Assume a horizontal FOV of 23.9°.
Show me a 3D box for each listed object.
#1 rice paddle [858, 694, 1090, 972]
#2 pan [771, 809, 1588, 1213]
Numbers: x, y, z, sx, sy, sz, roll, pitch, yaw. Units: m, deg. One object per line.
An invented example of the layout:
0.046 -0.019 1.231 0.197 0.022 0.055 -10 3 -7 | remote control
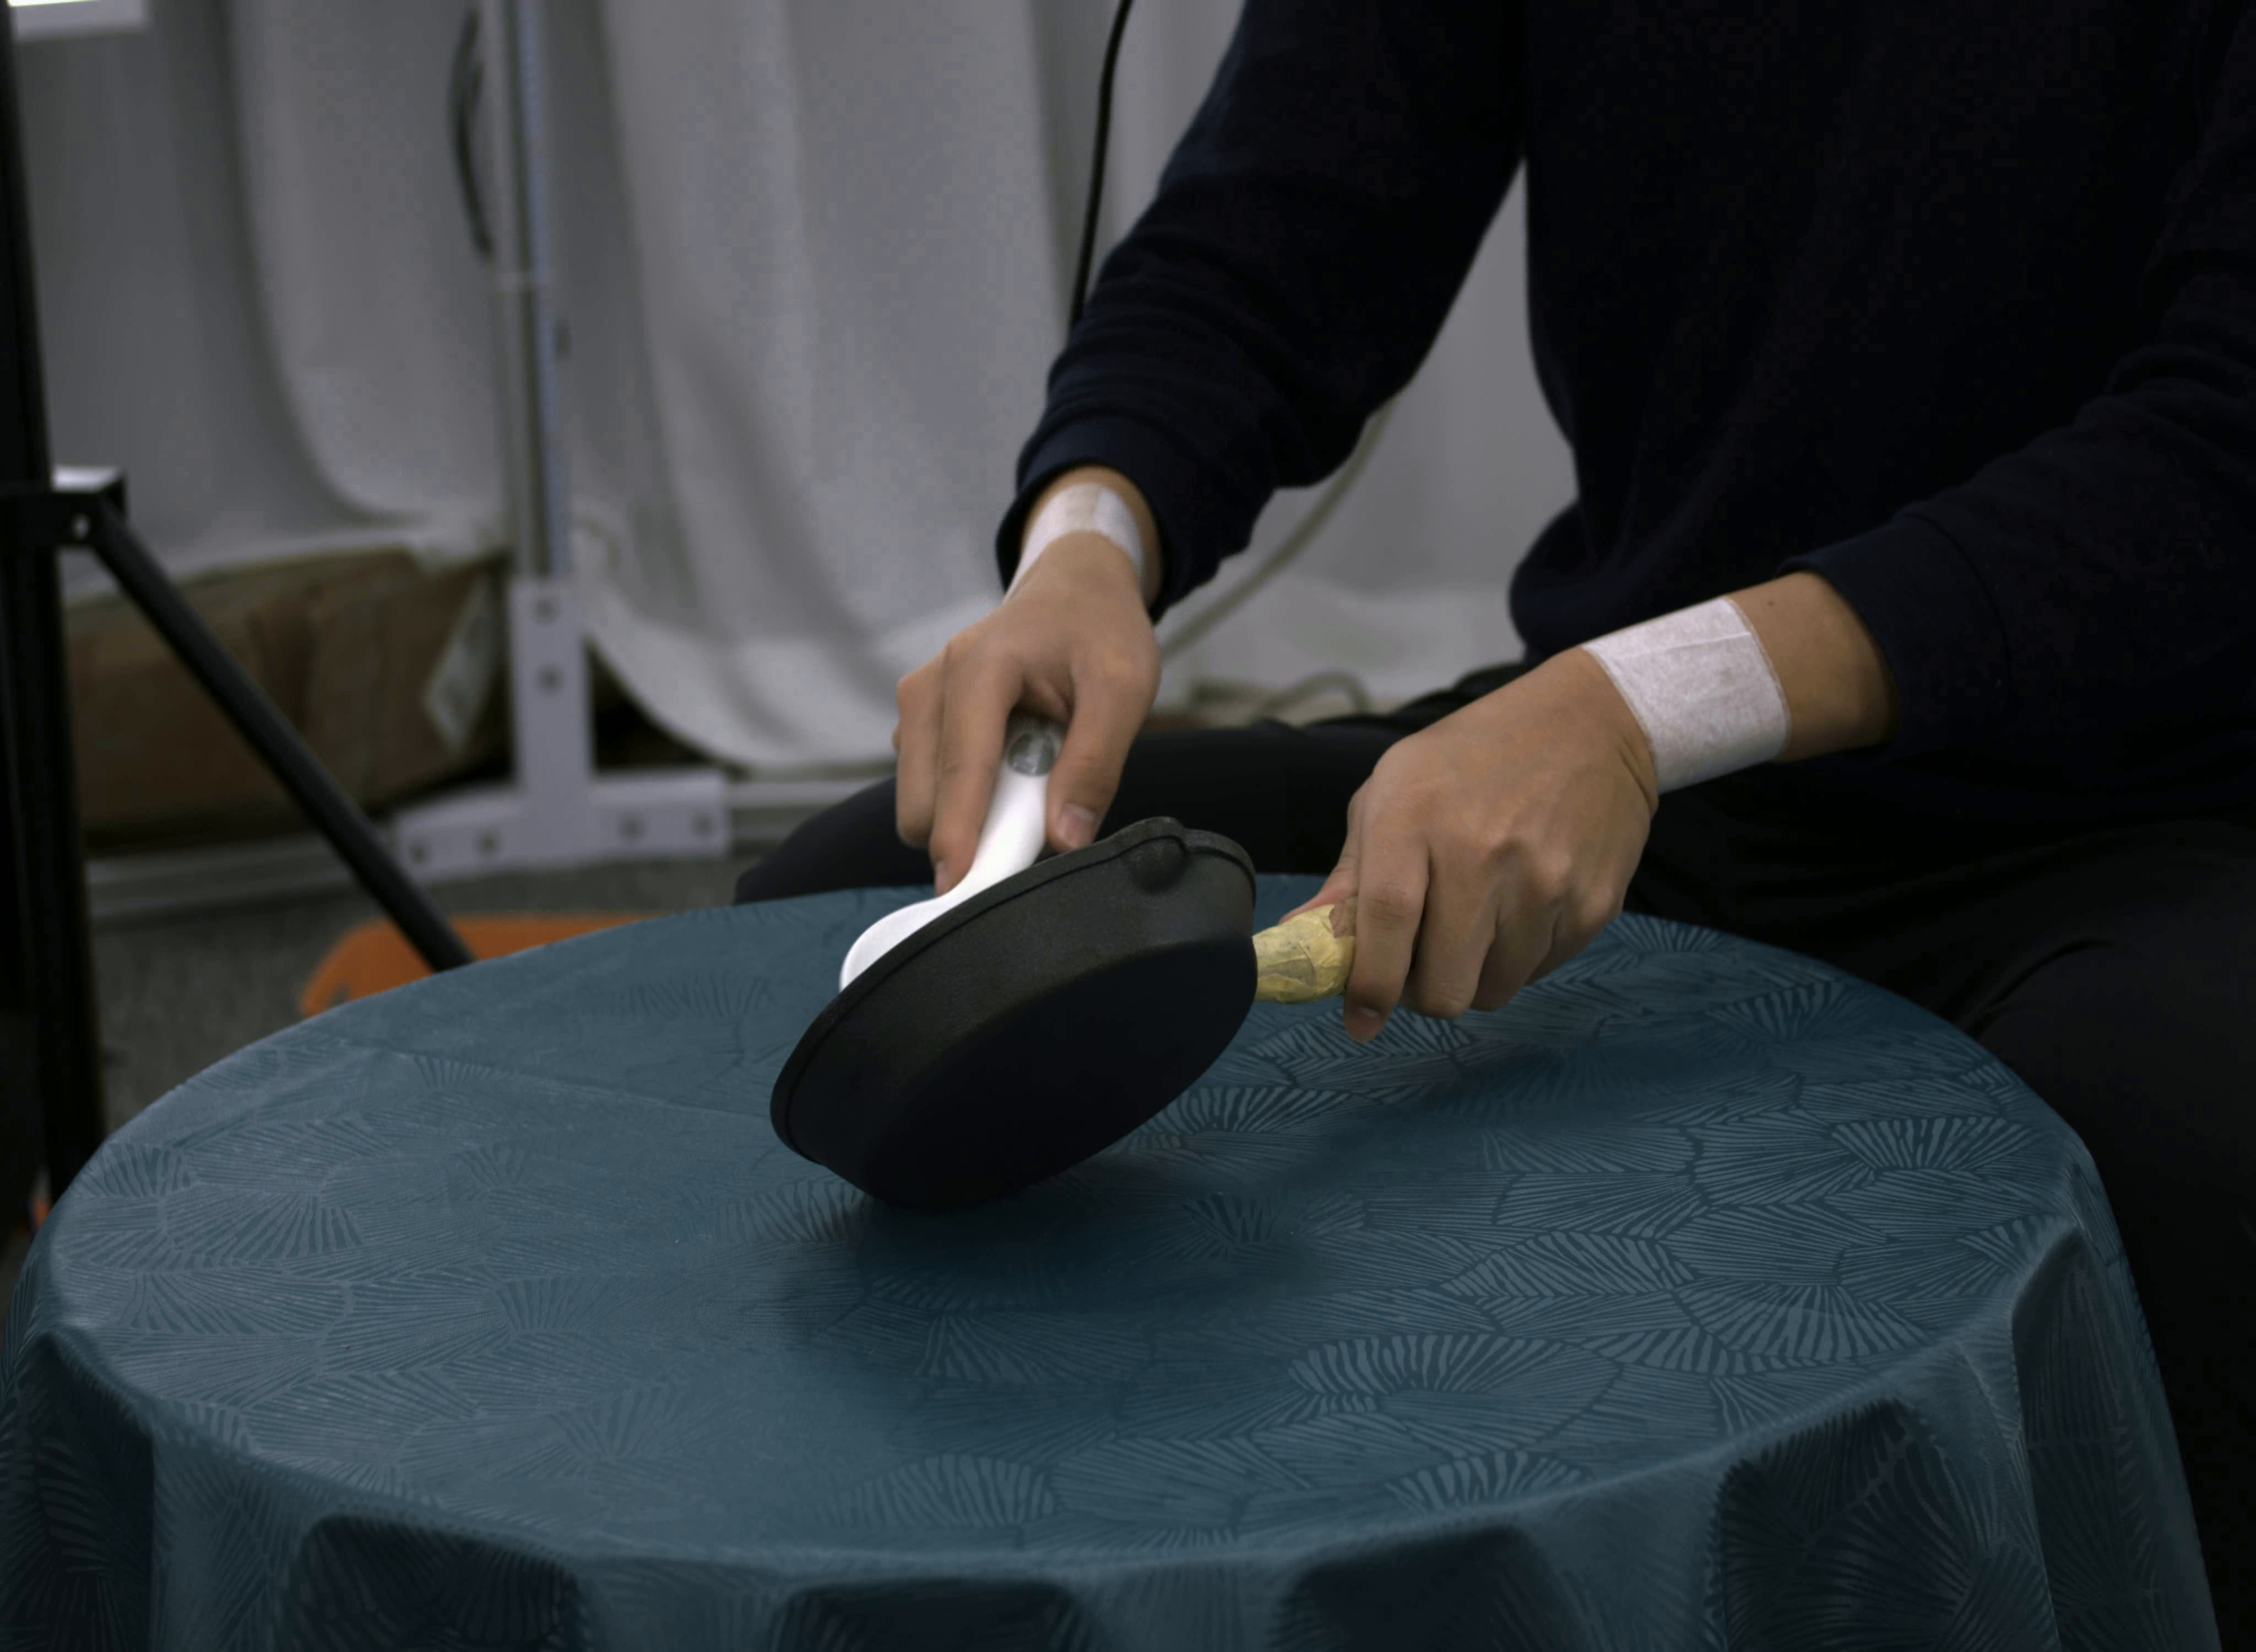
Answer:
-0.039 0.018 1.638 0.068 0.029 0.205 9 29 3 | rice paddle
0.034 0.044 1.575 0.316 0.170 0.050 -11 59 -40 | pan
